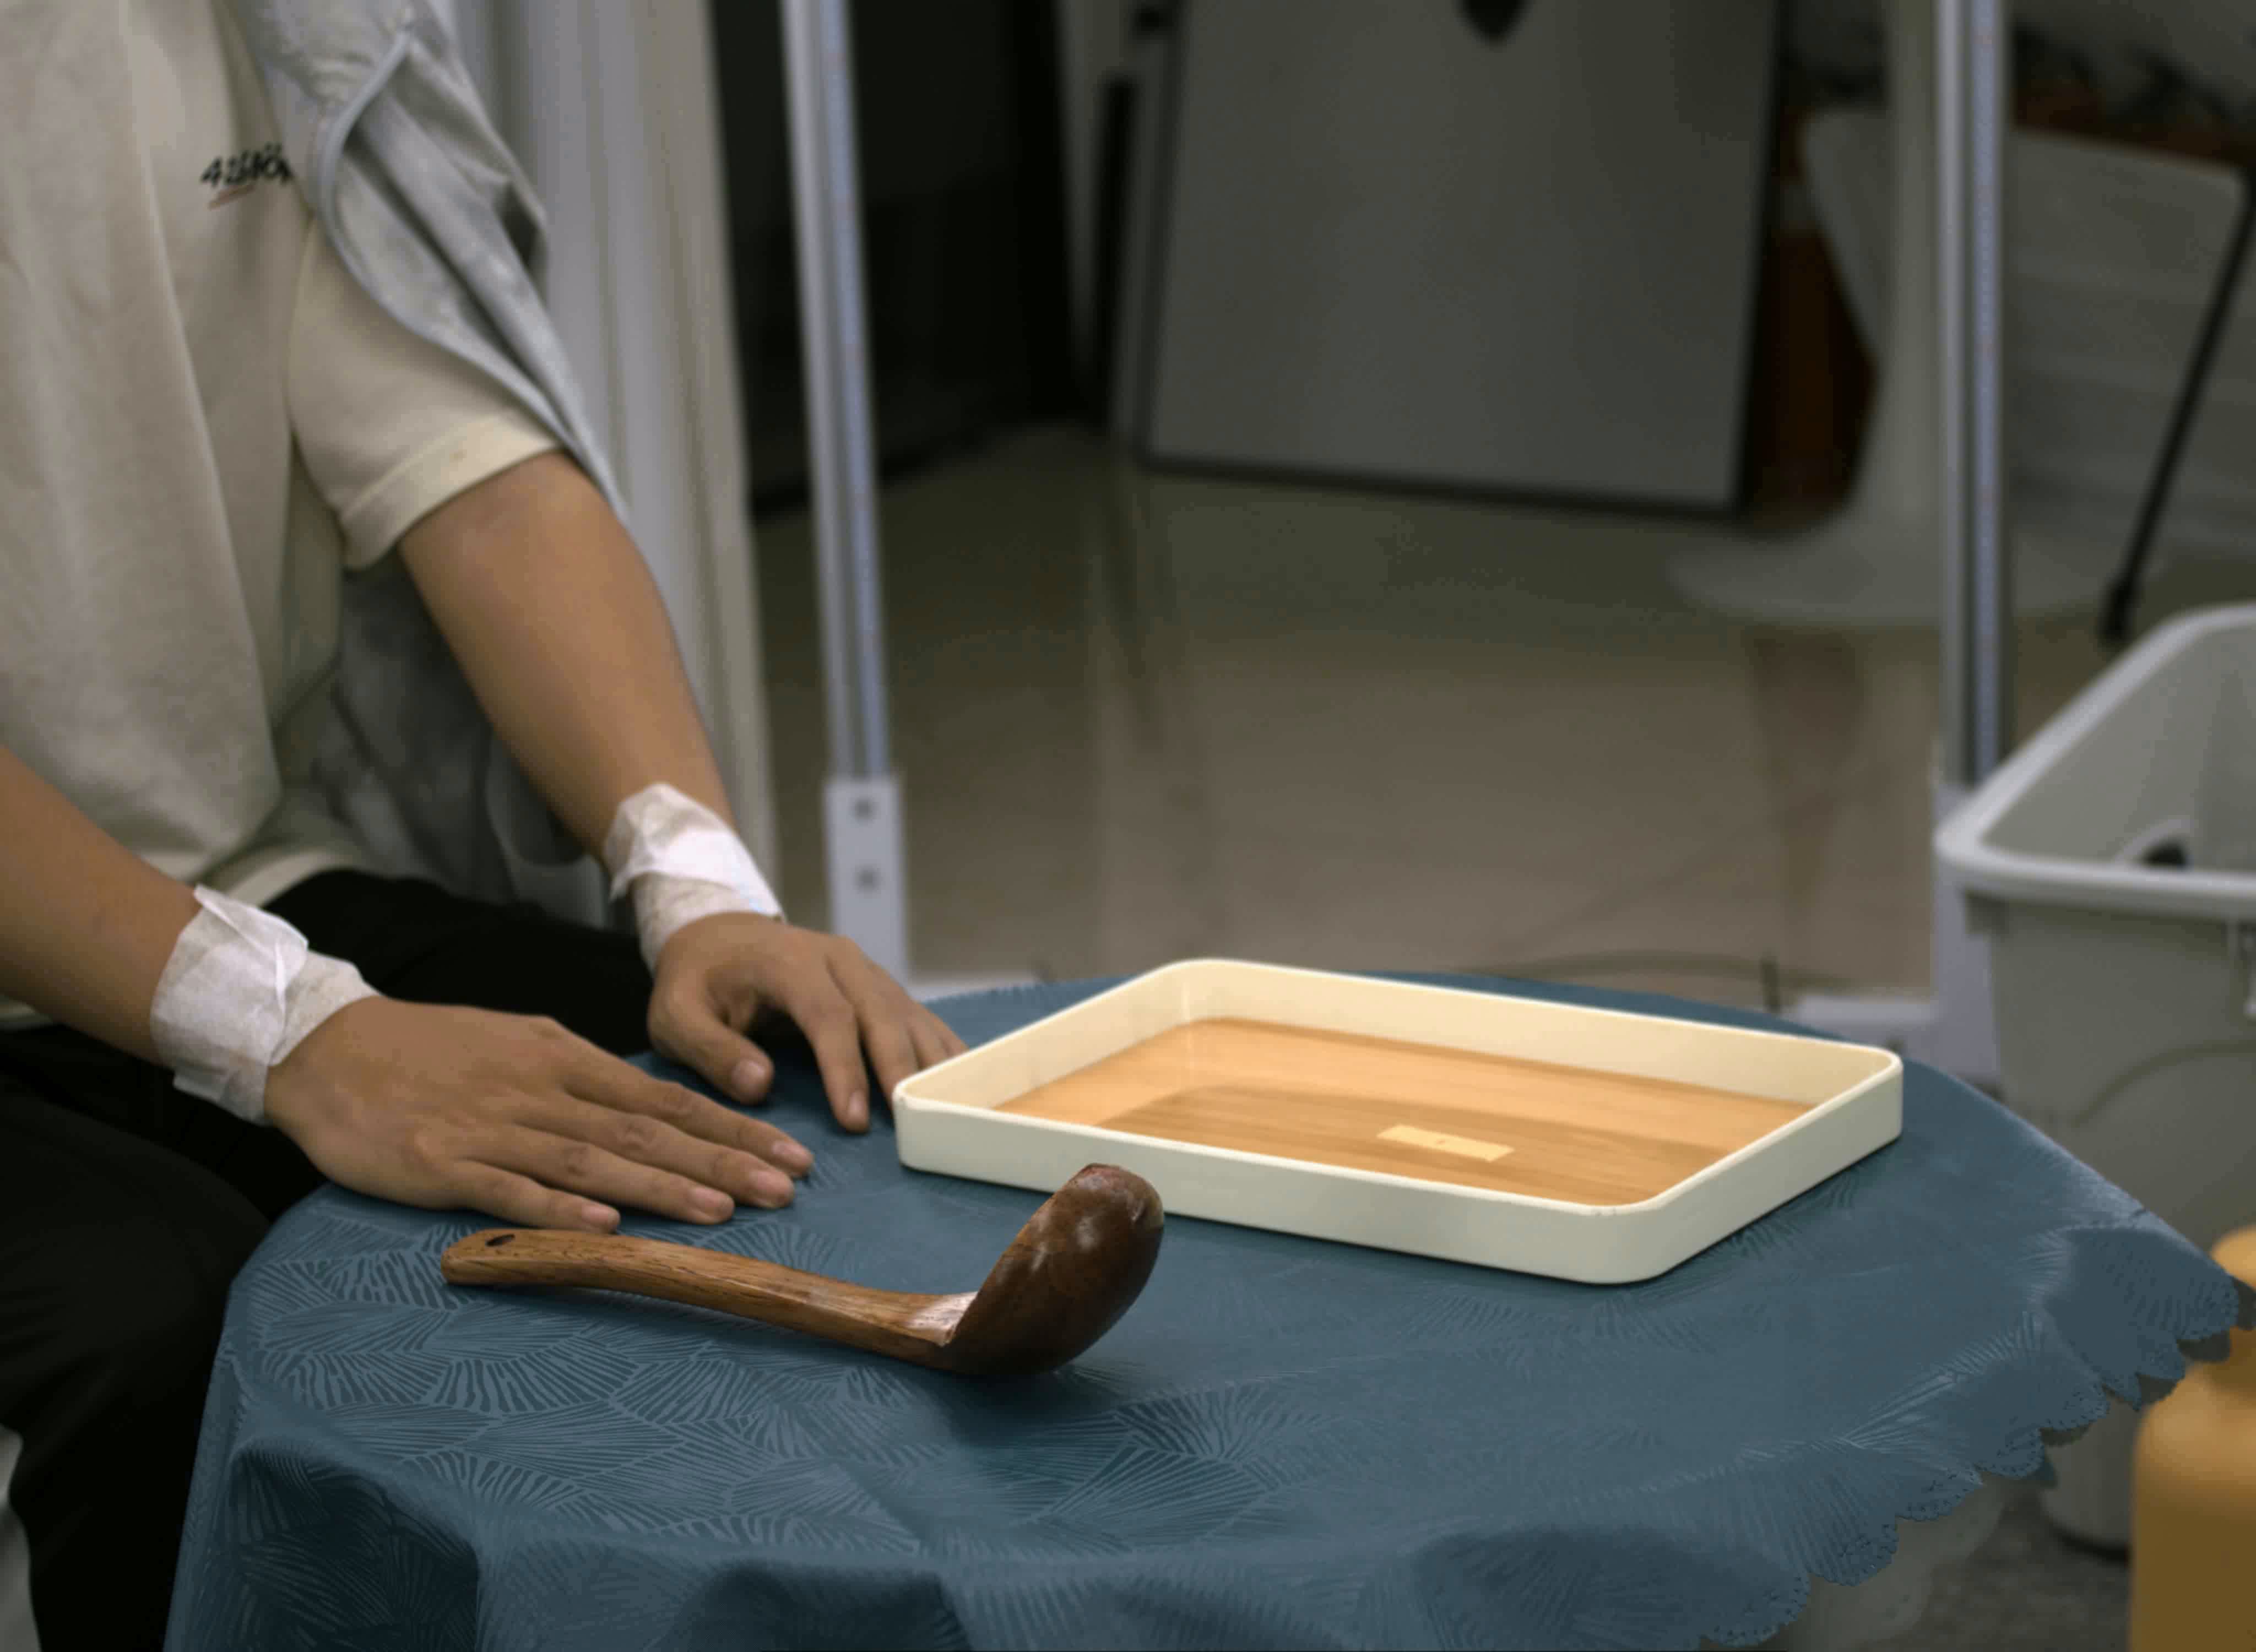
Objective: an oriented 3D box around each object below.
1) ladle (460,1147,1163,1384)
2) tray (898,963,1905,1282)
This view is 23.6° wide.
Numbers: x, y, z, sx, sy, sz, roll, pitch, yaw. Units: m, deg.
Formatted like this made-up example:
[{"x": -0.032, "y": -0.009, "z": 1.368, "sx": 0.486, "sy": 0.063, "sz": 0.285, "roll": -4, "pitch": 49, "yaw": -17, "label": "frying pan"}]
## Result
[{"x": -0.106, "y": 0.121, "z": 1.646, "sx": 0.276, "sy": 0.077, "sz": 0.080, "roll": 7, "pitch": 21, "yaw": 37, "label": "ladle"}, {"x": 0.090, "y": 0.096, "z": 1.796, "sx": 0.302, "sy": 0.028, "sz": 0.188, "roll": 6, "pitch": 17, "yaw": 37, "label": "tray"}]
